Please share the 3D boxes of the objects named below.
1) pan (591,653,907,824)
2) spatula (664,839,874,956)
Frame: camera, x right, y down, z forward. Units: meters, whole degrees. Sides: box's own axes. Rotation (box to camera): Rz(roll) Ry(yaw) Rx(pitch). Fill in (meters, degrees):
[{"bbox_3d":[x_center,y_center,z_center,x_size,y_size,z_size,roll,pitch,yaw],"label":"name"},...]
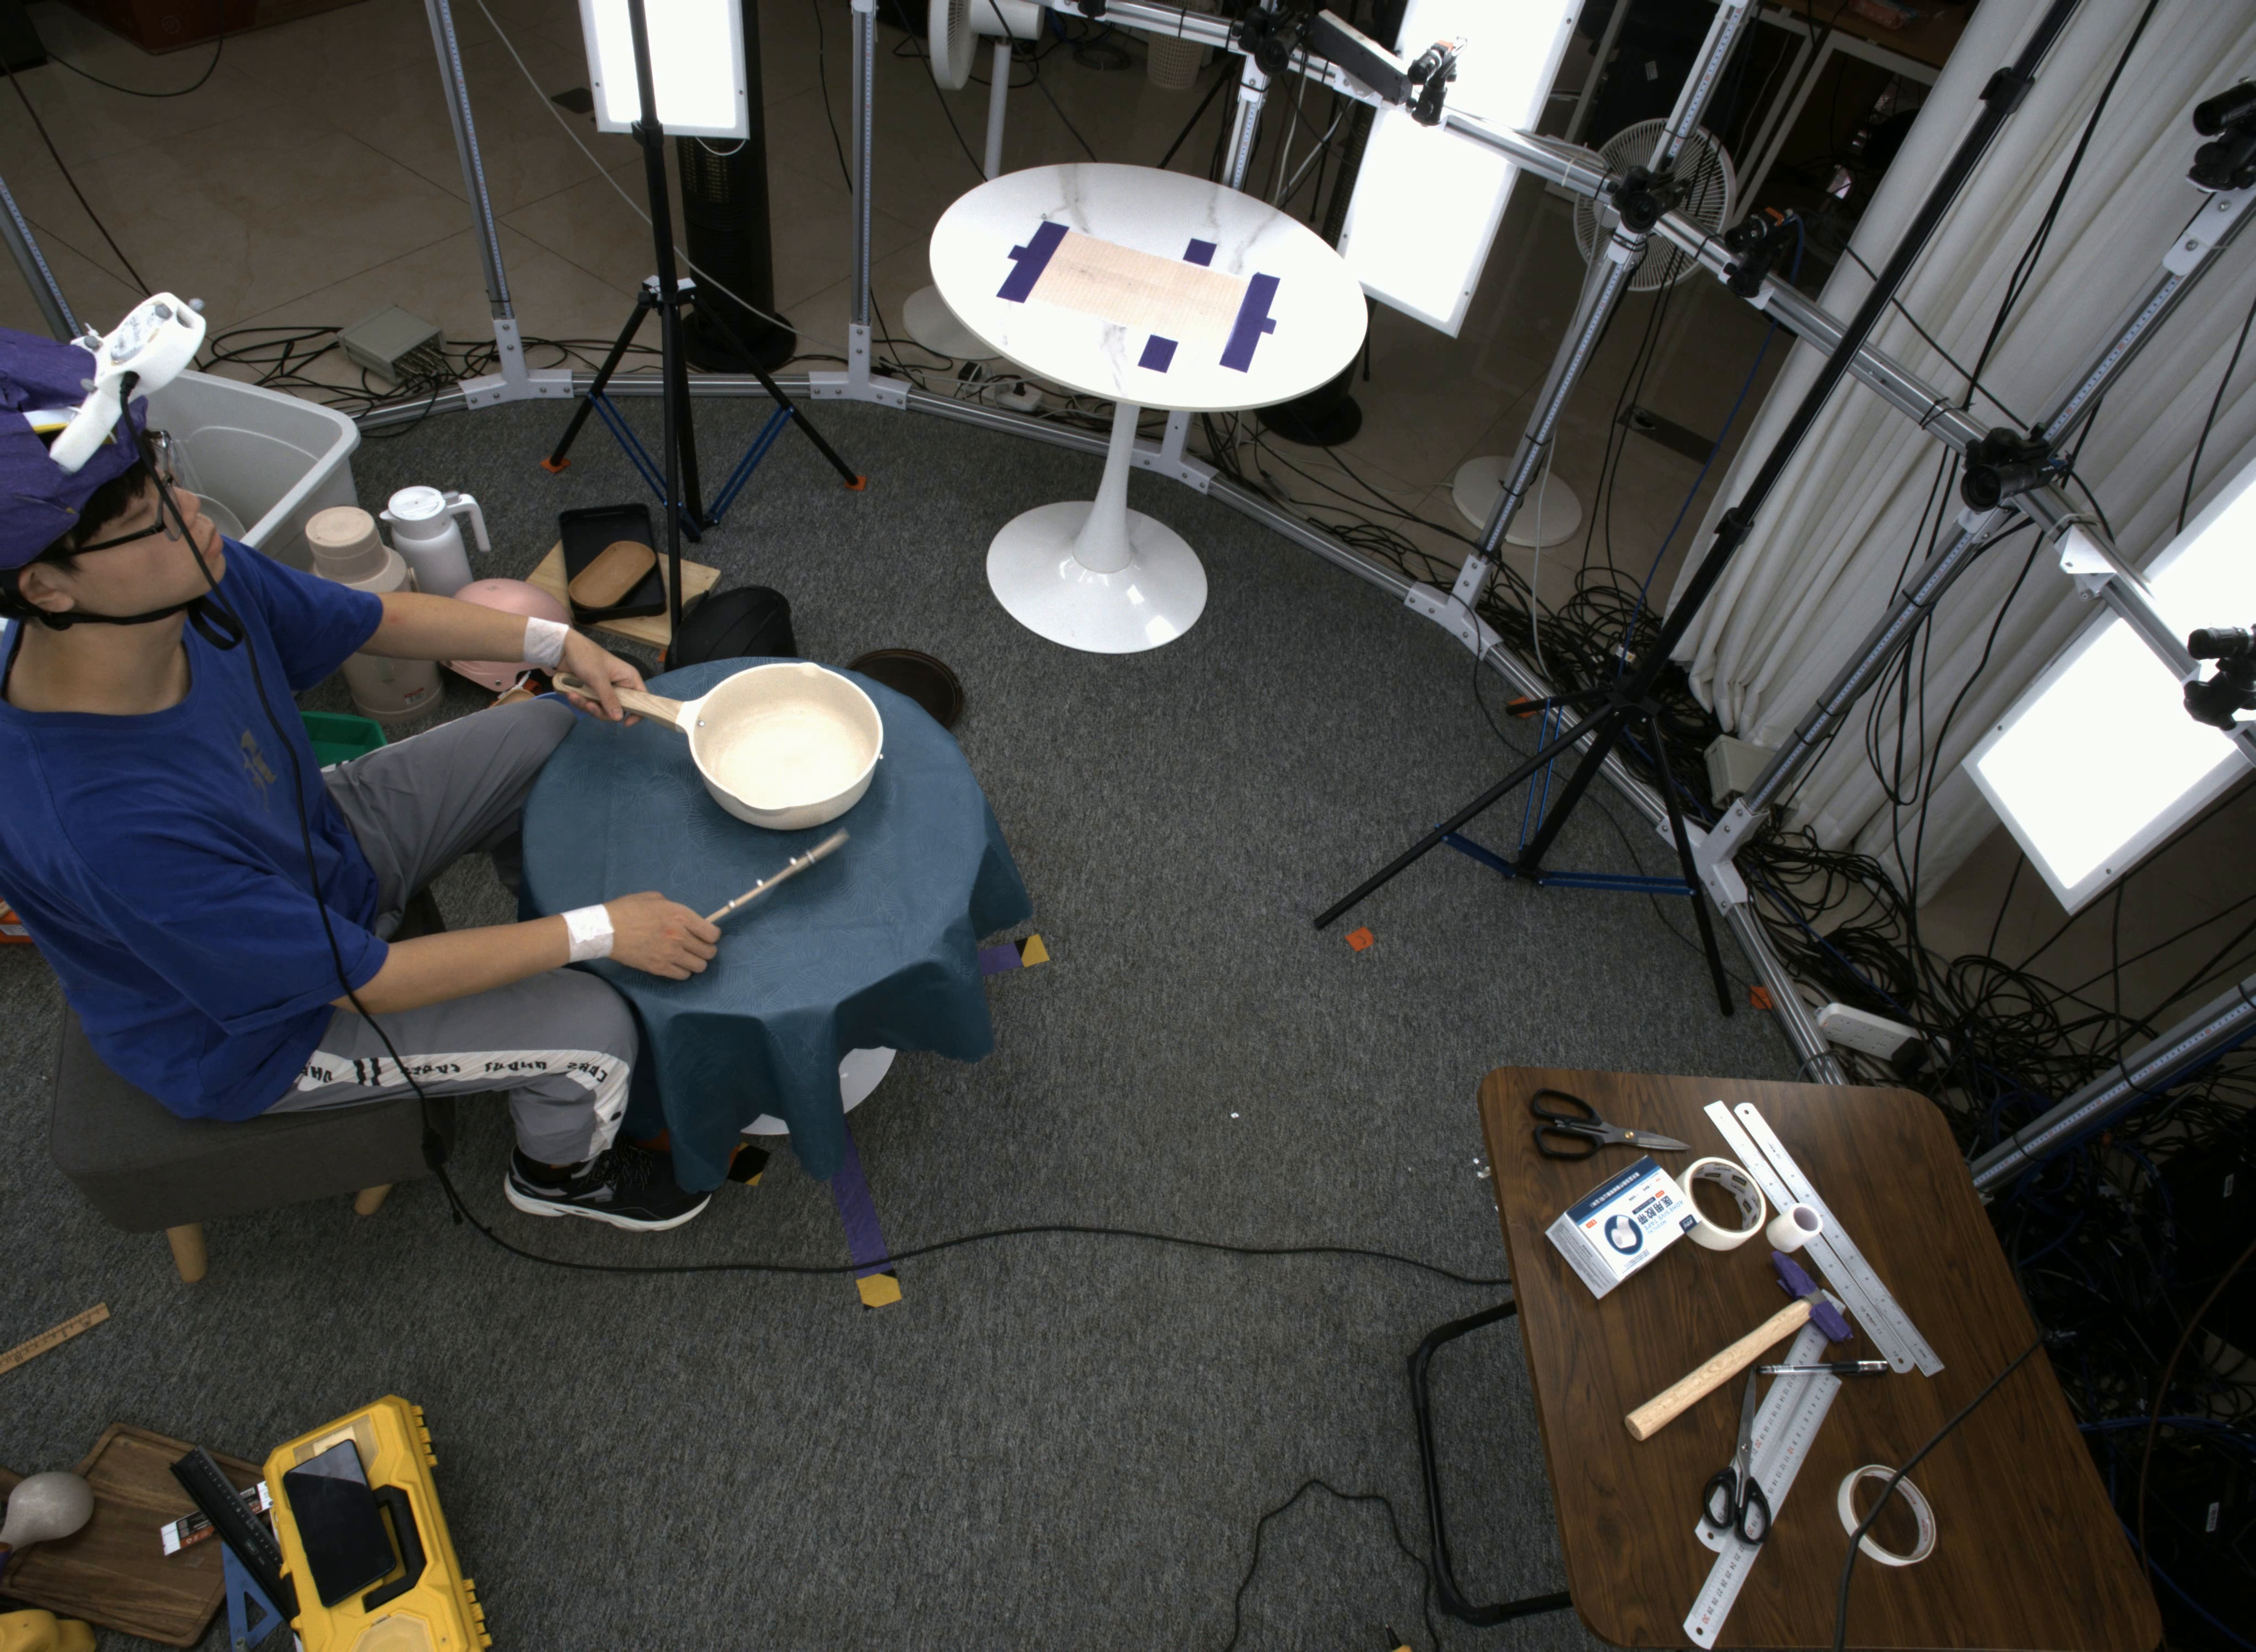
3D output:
[{"bbox_3d":[-0.516,-0.131,1.745,0.433,0.104,0.259,10,54,-6],"label":"pan"},{"bbox_3d":[-0.452,0.087,1.634,0.294,0.070,0.011,-31,108,-28],"label":"spatula"}]
